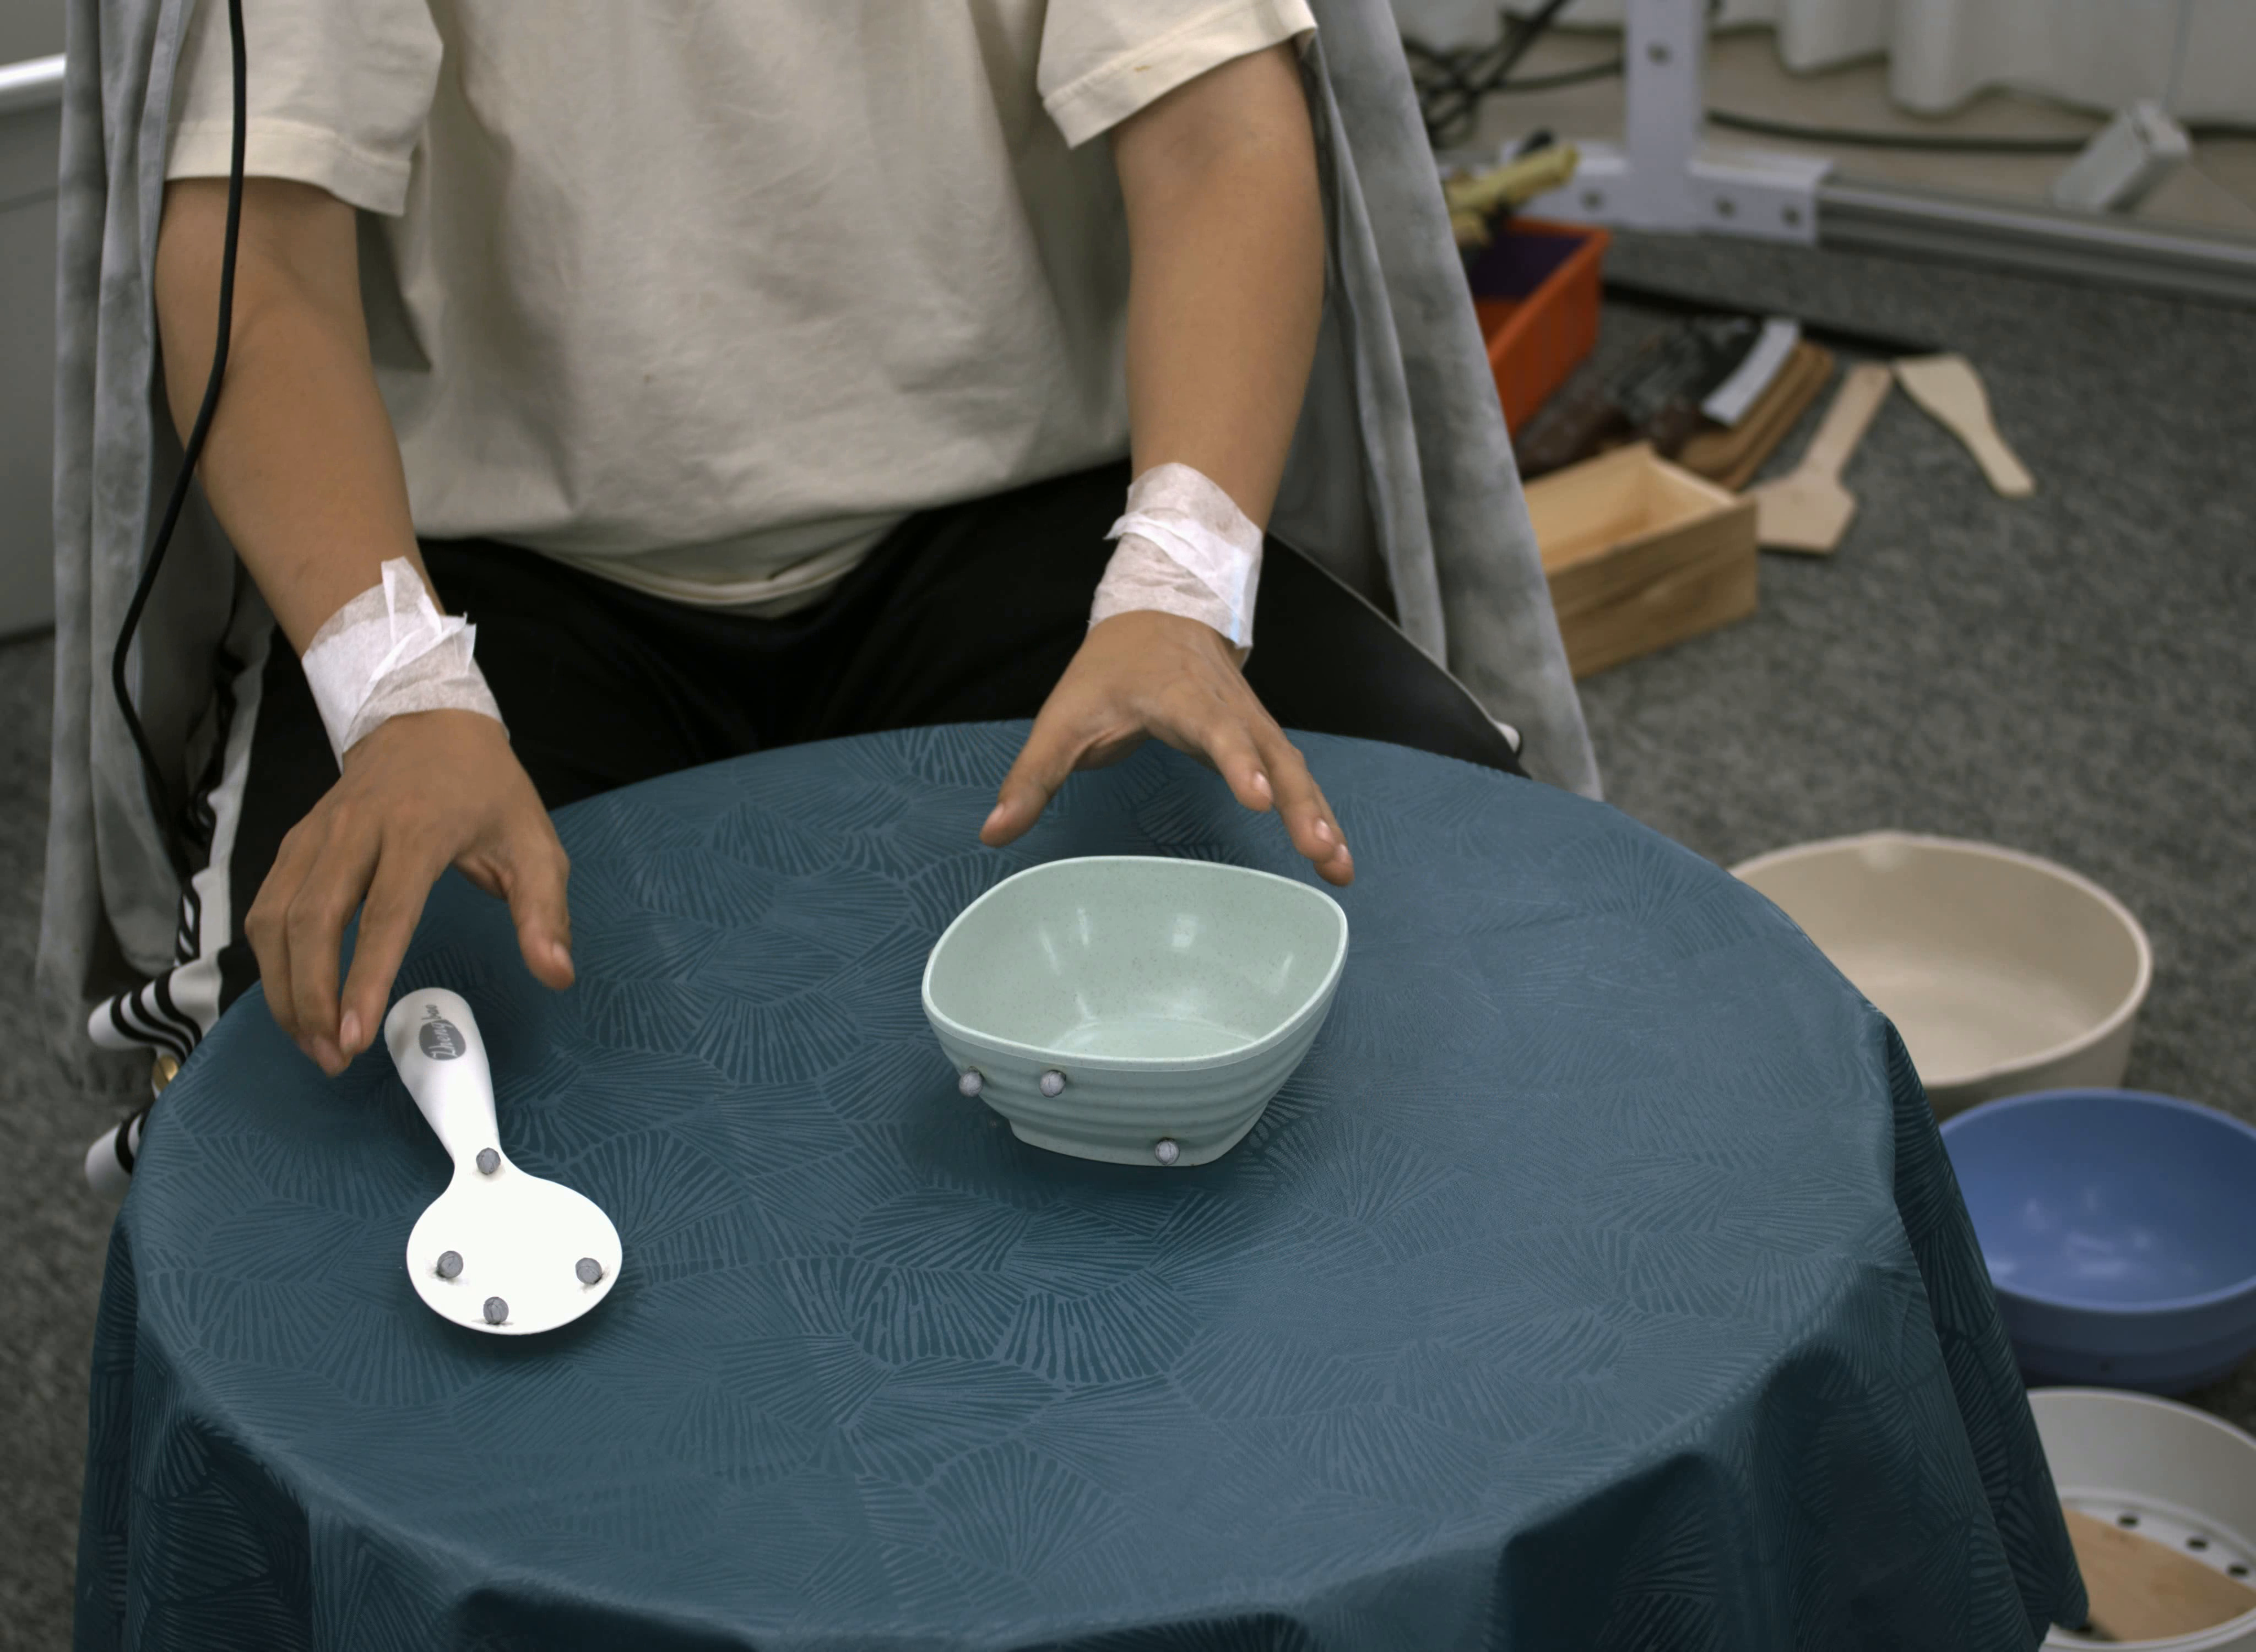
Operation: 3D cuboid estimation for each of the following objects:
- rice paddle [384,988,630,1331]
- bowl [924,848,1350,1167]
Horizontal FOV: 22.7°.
[{"bbox_3d":[-0.213,0.113,1.865,0.069,0.029,0.207,-11,28,-13],"label":"rice paddle"},{"bbox_3d":[0.005,0.068,1.901,0.150,0.058,0.154,-3,29,2],"label":"bowl"}]
